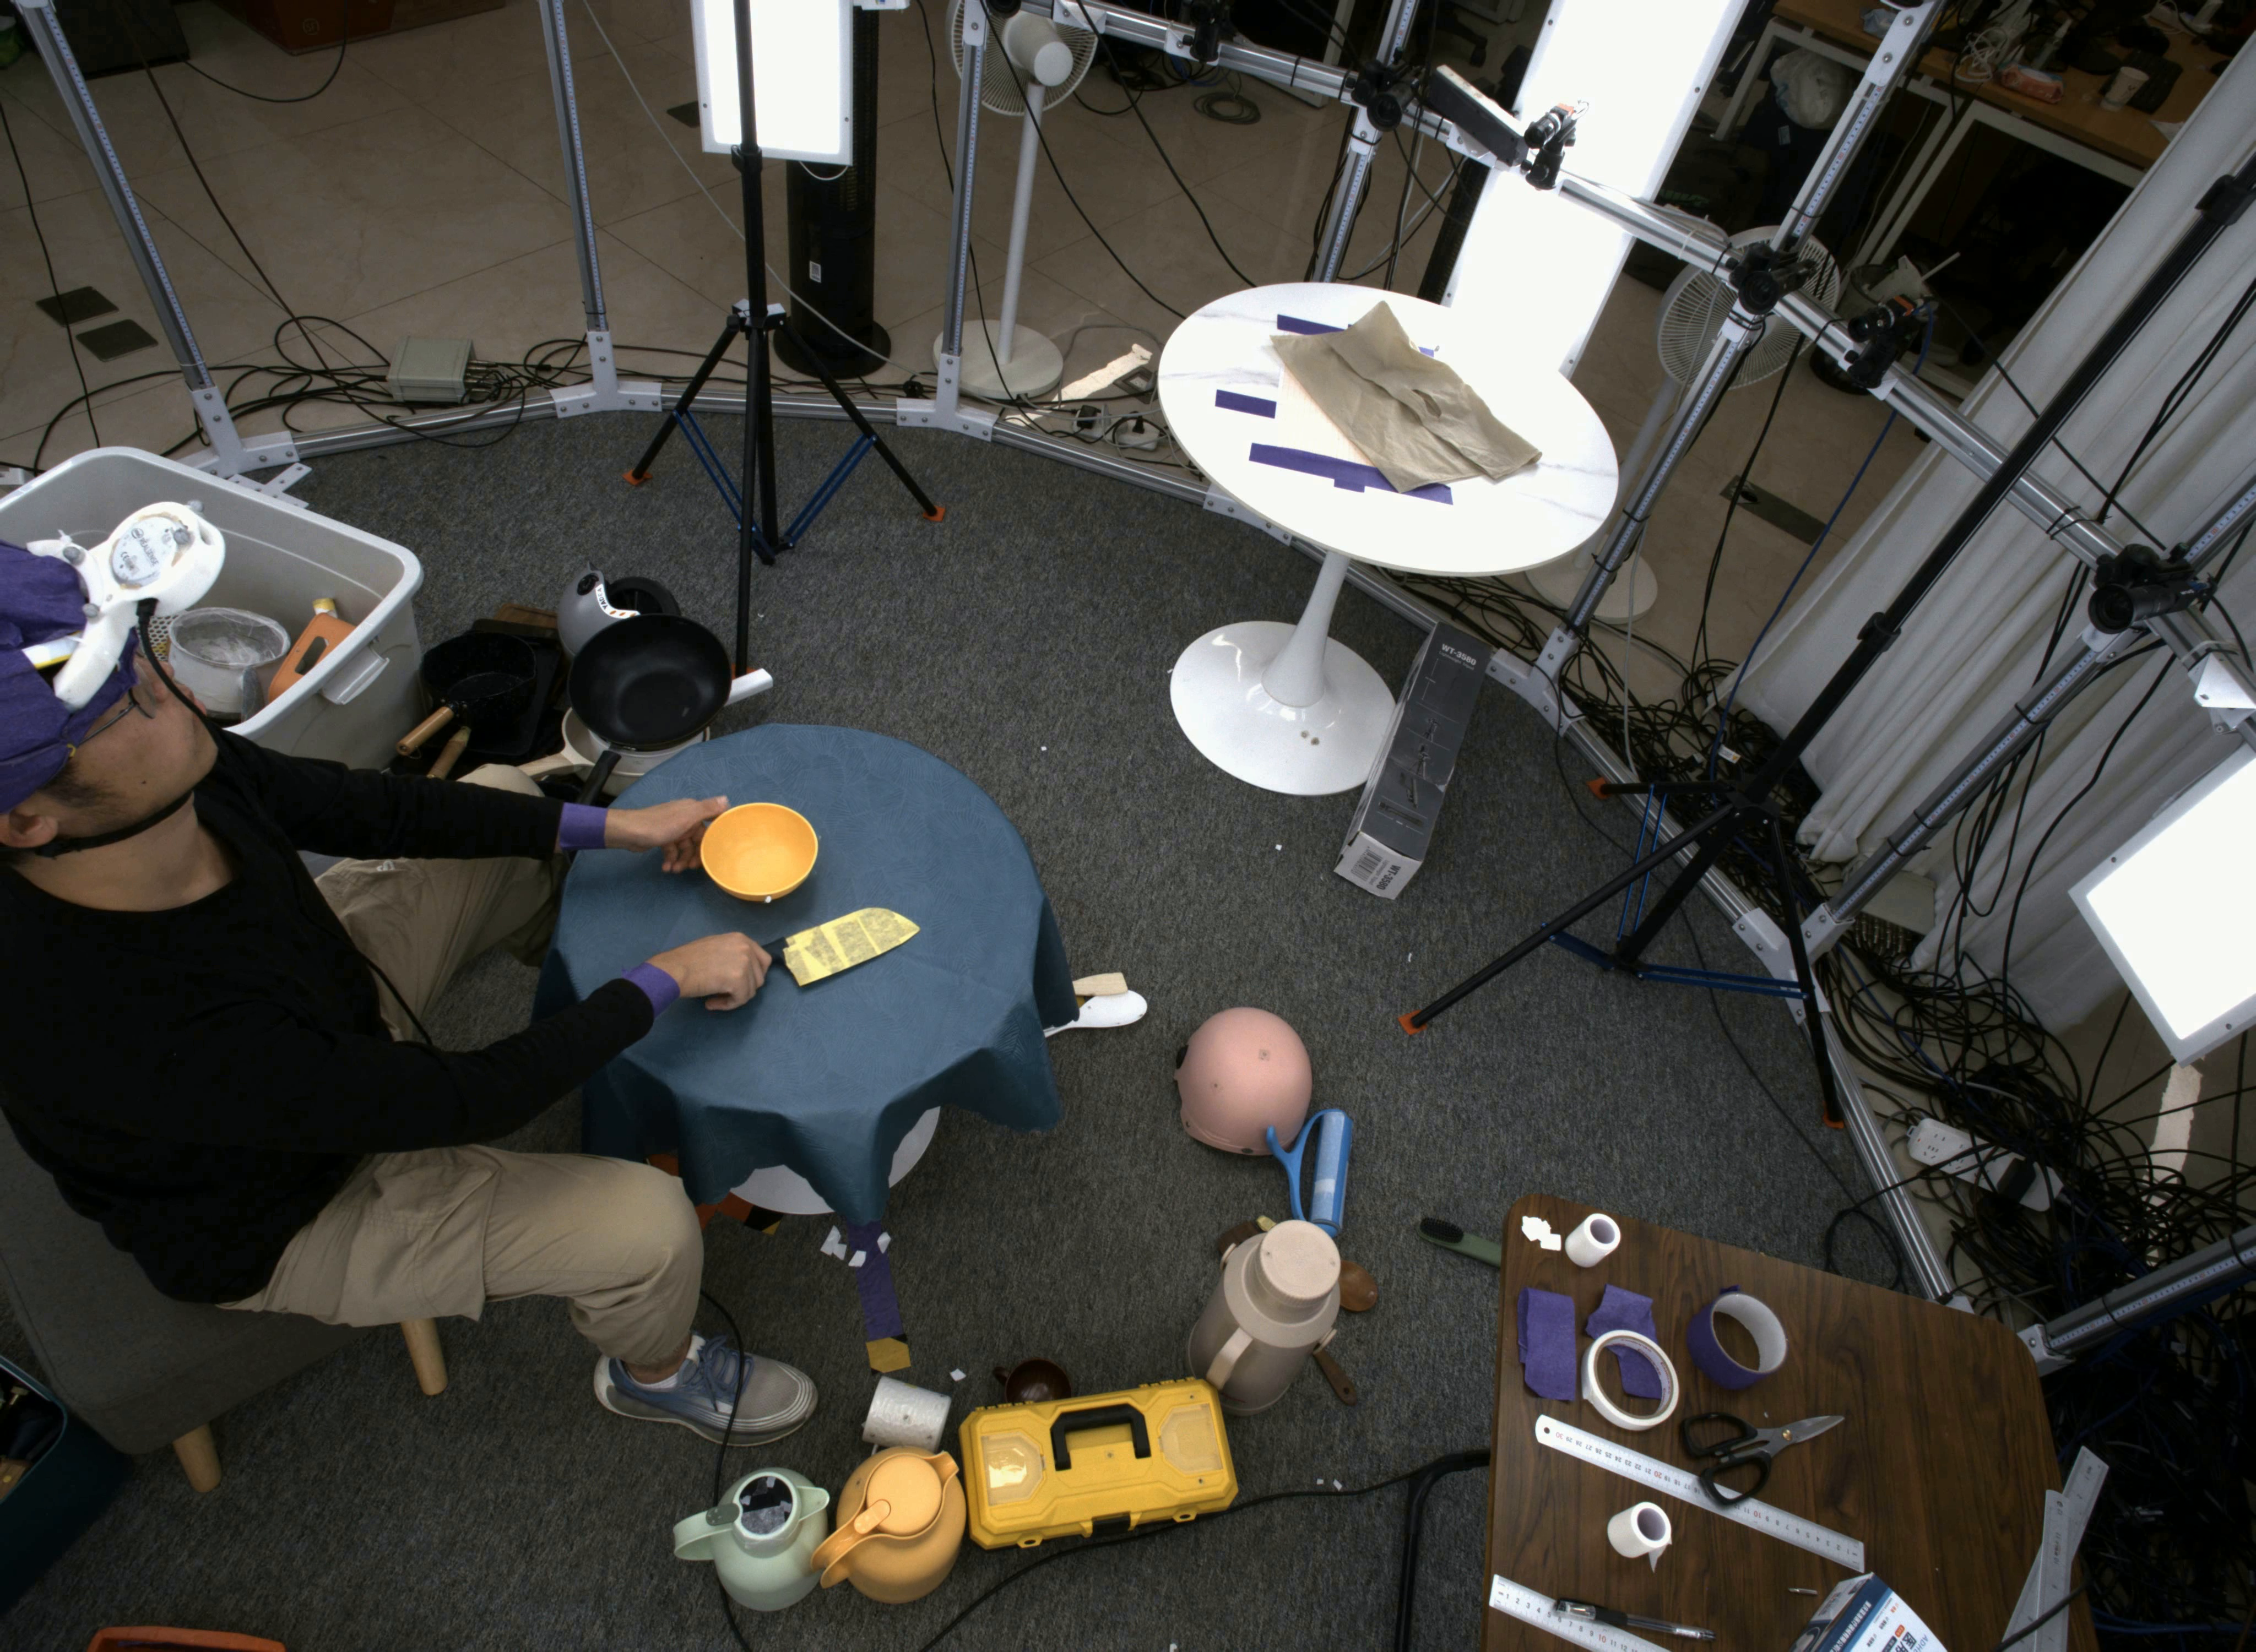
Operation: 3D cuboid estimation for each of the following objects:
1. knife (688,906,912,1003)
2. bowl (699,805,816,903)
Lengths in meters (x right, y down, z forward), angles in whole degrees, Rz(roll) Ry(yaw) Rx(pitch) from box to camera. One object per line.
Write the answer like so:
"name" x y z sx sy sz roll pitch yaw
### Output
"knife" -0.397 0.161 1.599 0.291 0.028 0.079 -20 57 -28
"bowl" -0.467 0.045 1.638 0.145 0.061 0.142 8 50 -8
